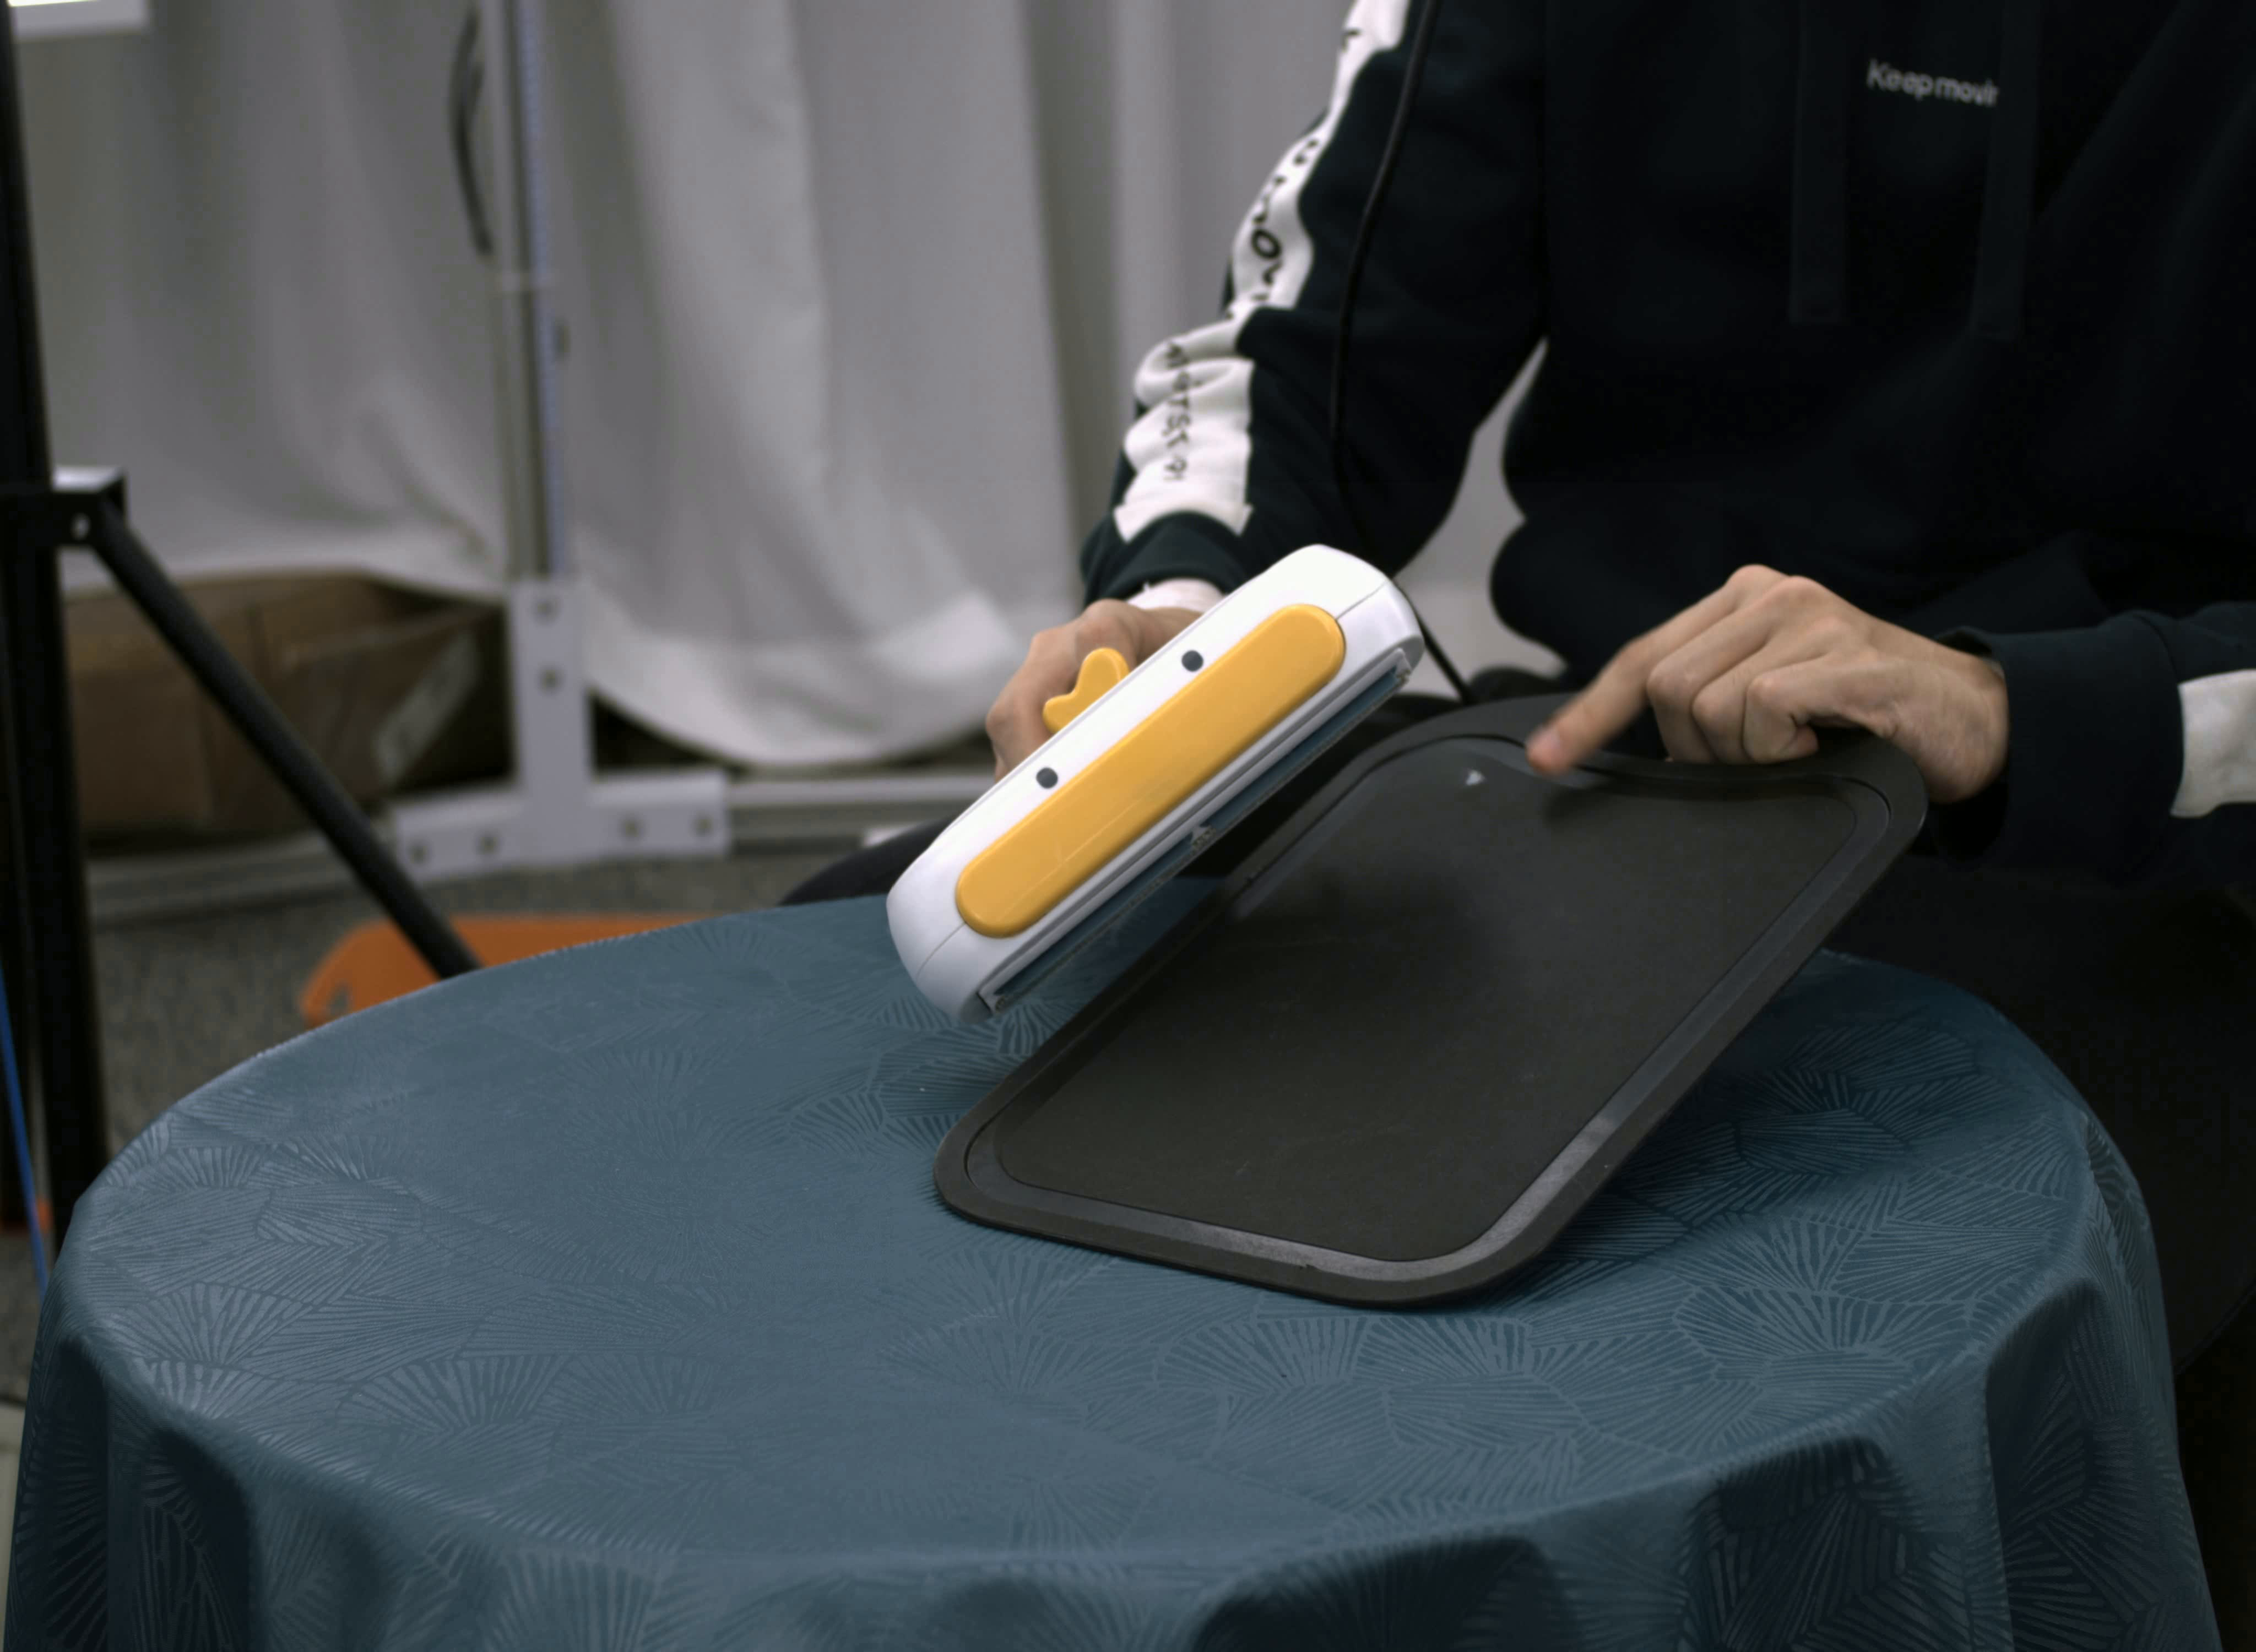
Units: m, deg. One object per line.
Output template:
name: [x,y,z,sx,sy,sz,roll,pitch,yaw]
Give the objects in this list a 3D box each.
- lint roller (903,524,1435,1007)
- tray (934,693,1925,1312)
lint roller: [0.005,-0.016,1.708,0.192,0.074,0.192,-43,-4,-7]
tray: [0.097,0.041,1.601,0.215,0.010,0.321,9,36,37]
